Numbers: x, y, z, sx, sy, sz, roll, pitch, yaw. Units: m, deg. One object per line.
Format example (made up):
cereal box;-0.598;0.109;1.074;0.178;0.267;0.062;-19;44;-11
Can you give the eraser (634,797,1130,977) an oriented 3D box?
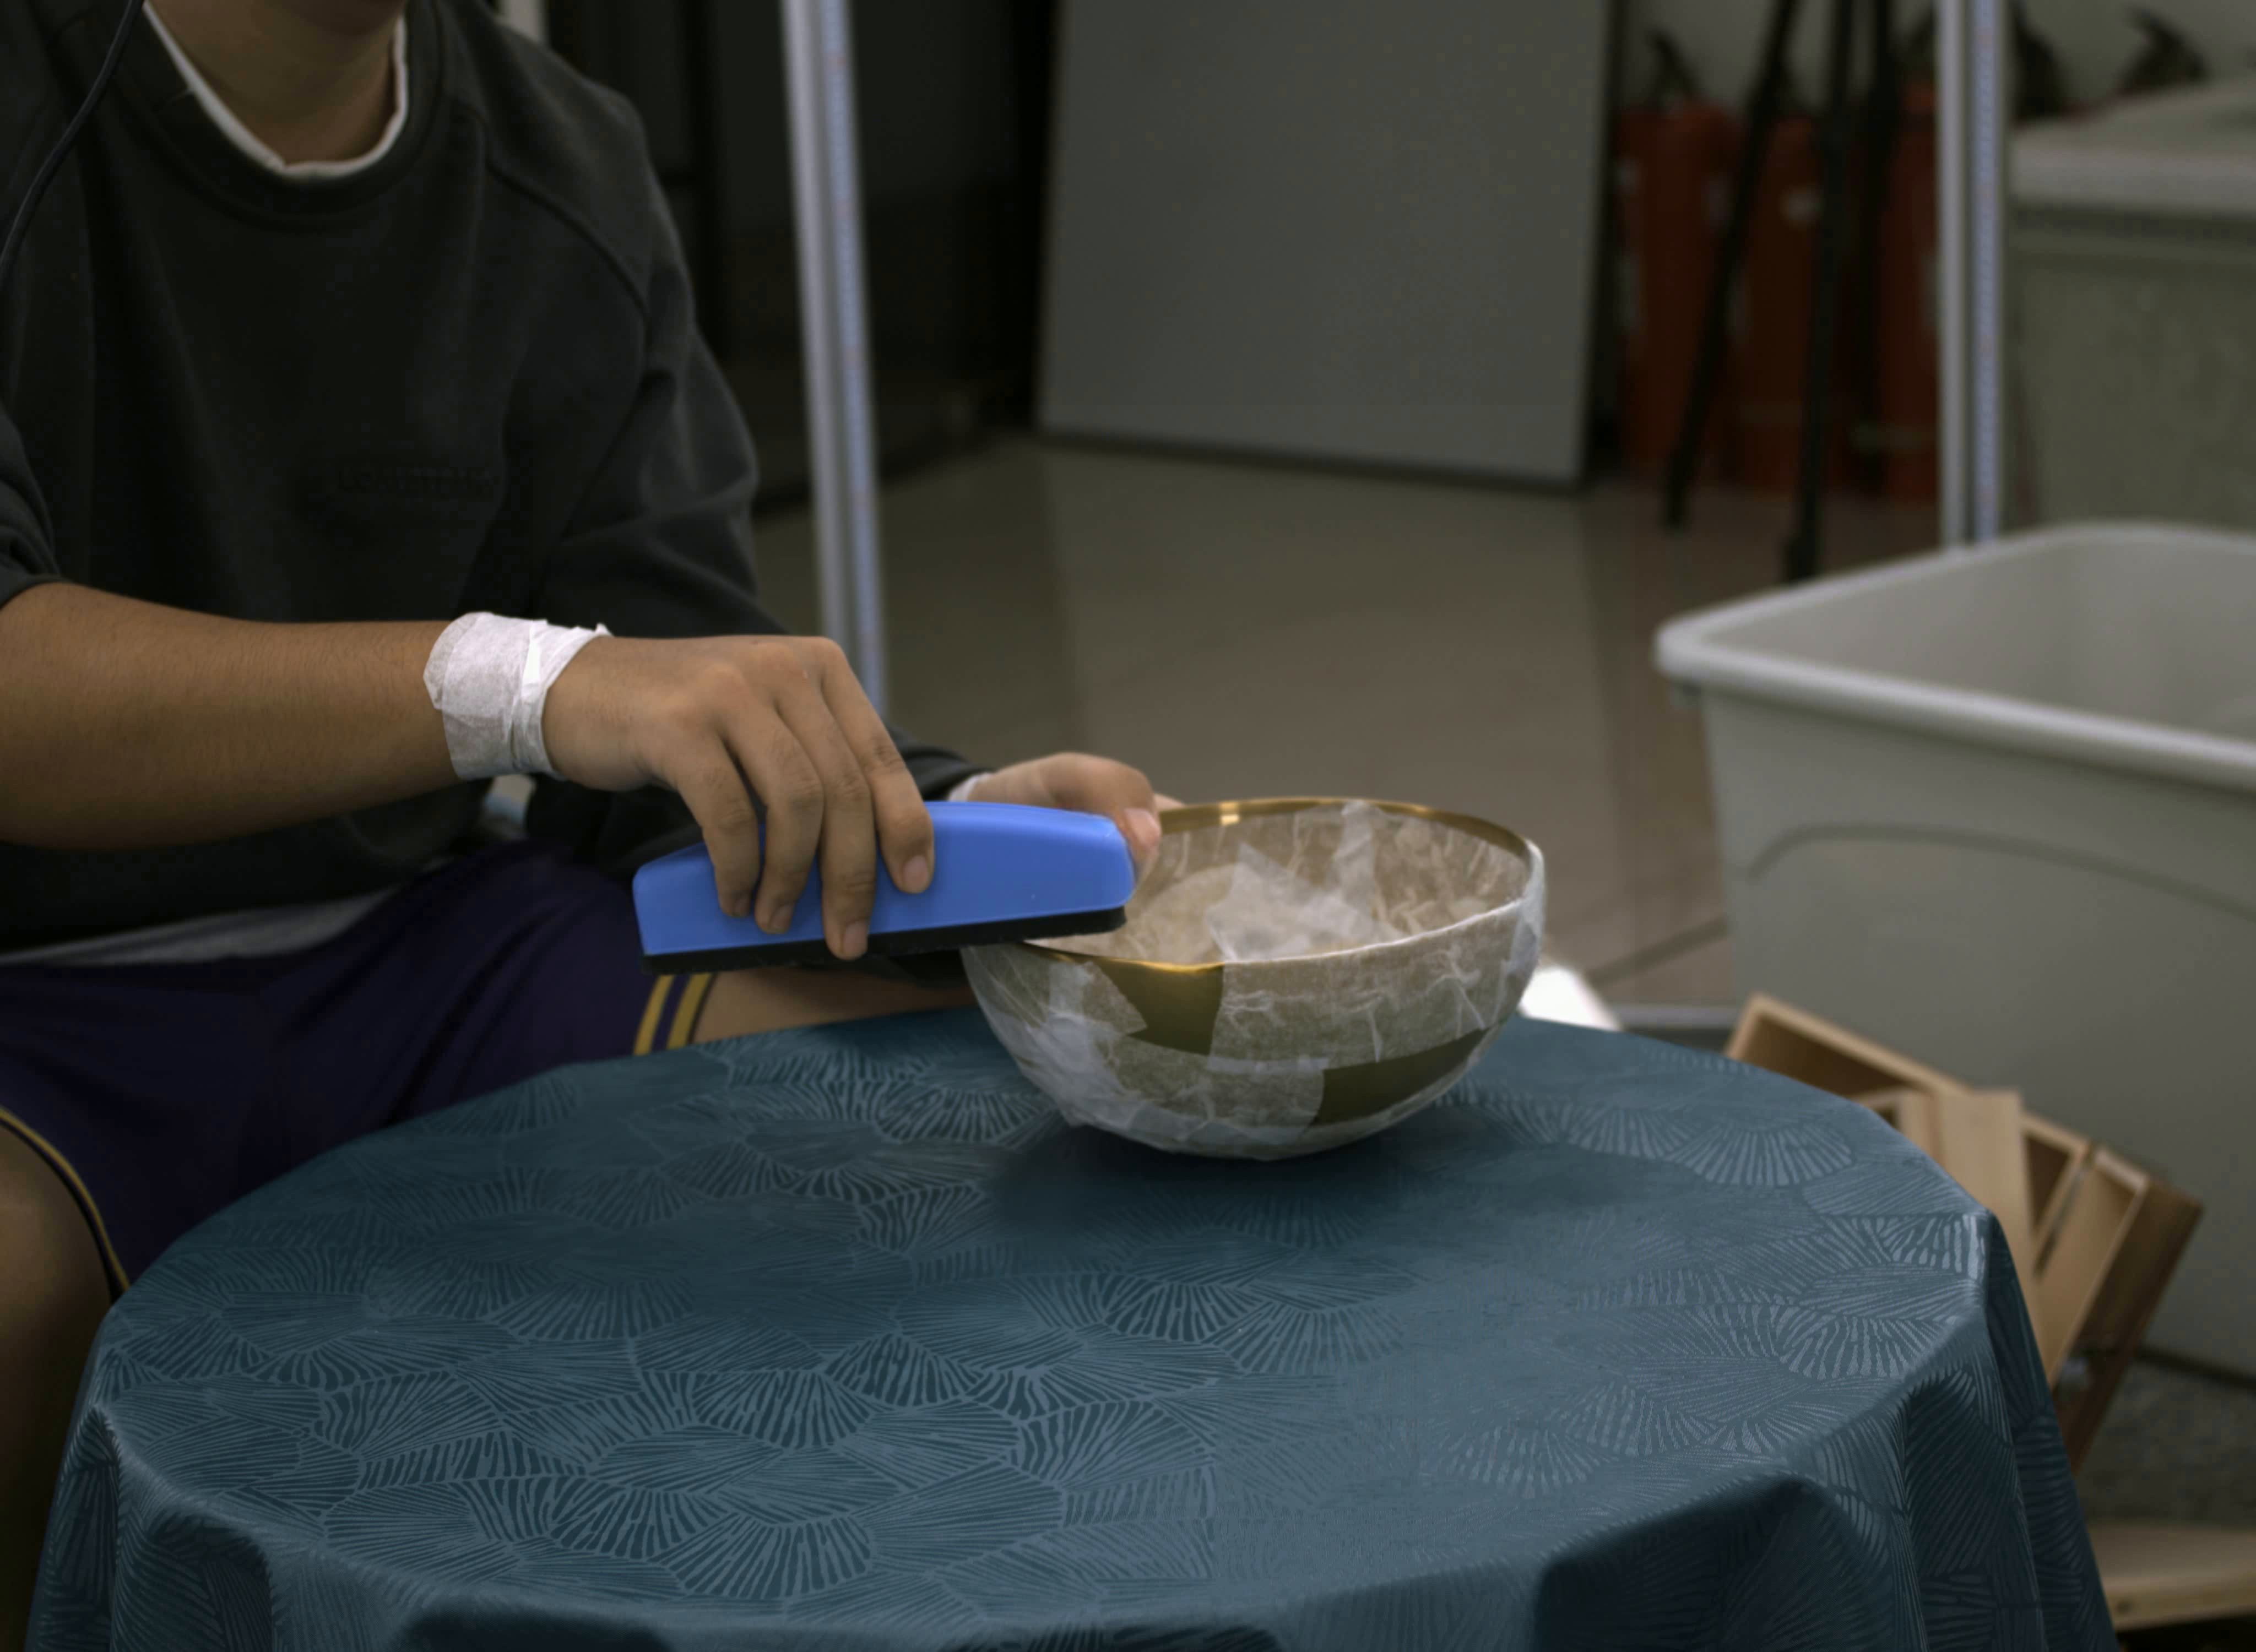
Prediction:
eraser;-0.080;0.016;1.741;0.160;0.048;0.054;-6;8;0

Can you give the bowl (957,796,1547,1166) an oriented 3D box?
bowl;0.042;0.058;1.816;0.212;0.095;0.215;-5;15;0
